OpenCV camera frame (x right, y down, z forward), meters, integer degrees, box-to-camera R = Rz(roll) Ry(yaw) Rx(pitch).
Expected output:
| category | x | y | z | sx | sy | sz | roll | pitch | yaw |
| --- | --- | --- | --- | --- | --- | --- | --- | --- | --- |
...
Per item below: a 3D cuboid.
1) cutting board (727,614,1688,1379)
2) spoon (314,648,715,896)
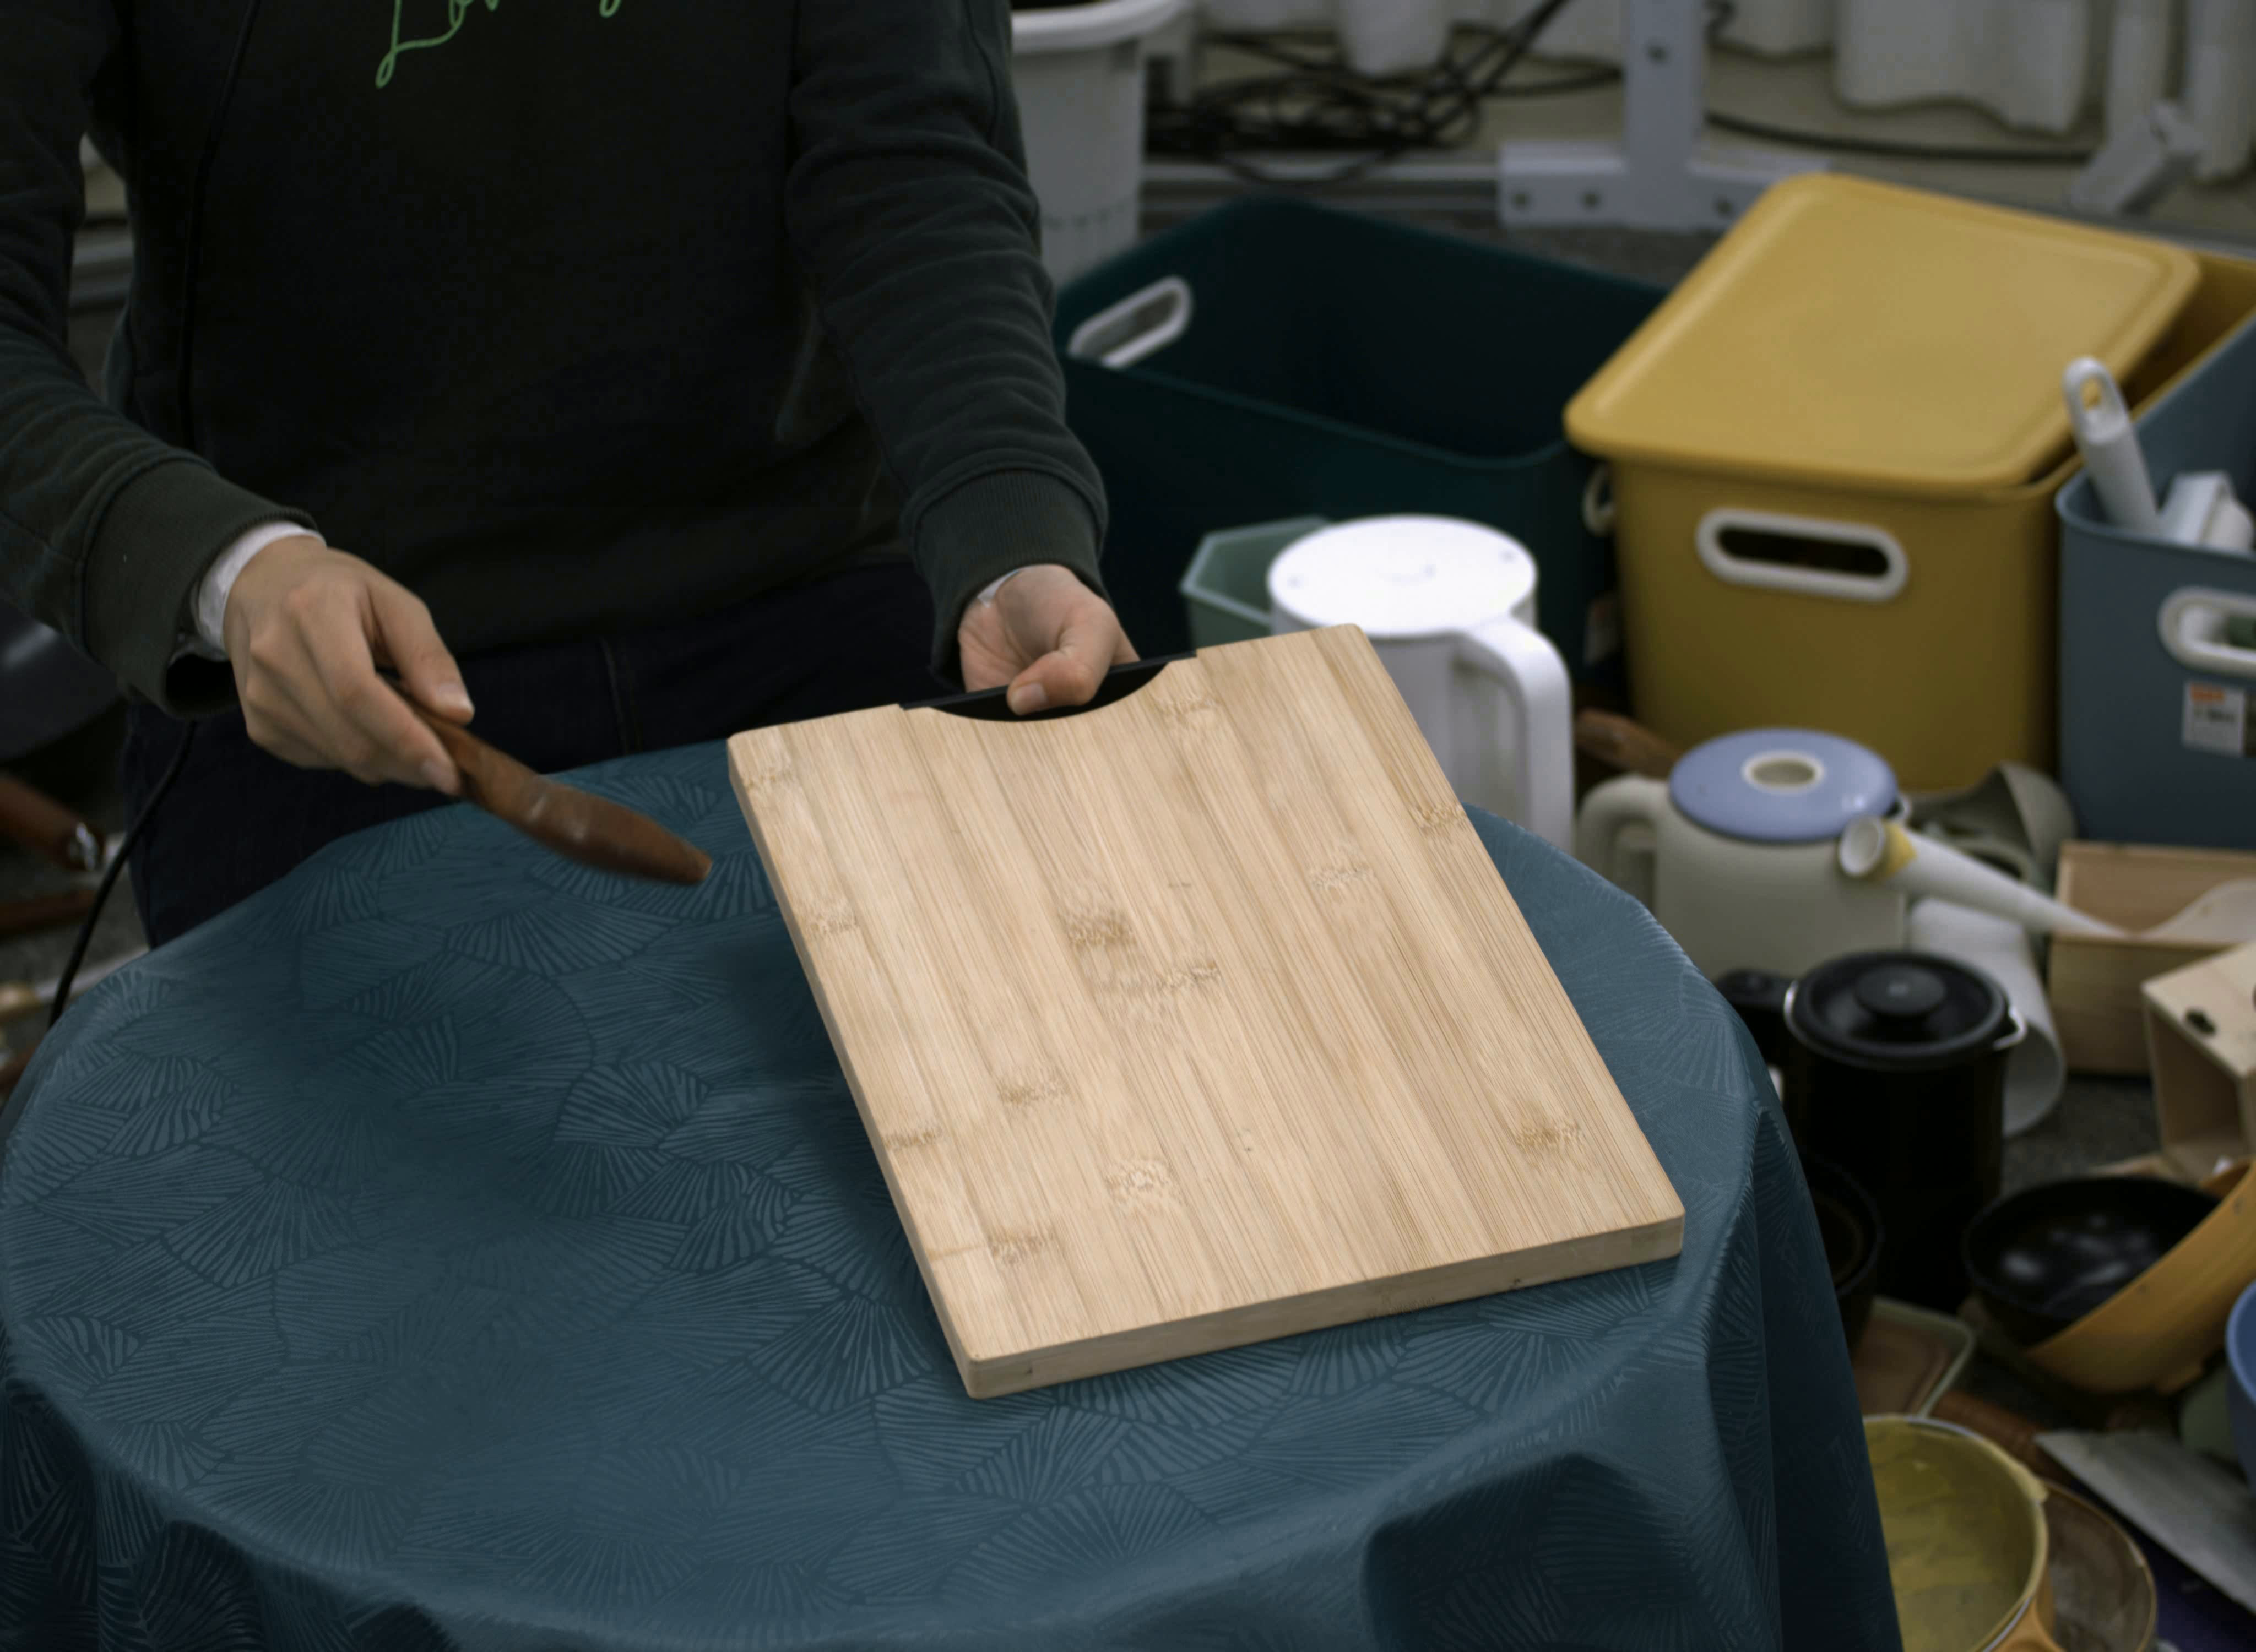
| category | x | y | z | sx | sy | sz | roll | pitch | yaw |
| --- | --- | --- | --- | --- | --- | --- | --- | --- | --- |
| cutting board | 0.018 | 0.050 | 1.911 | 0.251 | 0.023 | 0.353 | -10 | 38 | -14 |
| spoon | -0.209 | -0.016 | 1.844 | 0.075 | 0.017 | 0.216 | 12 | 12 | -40 |
